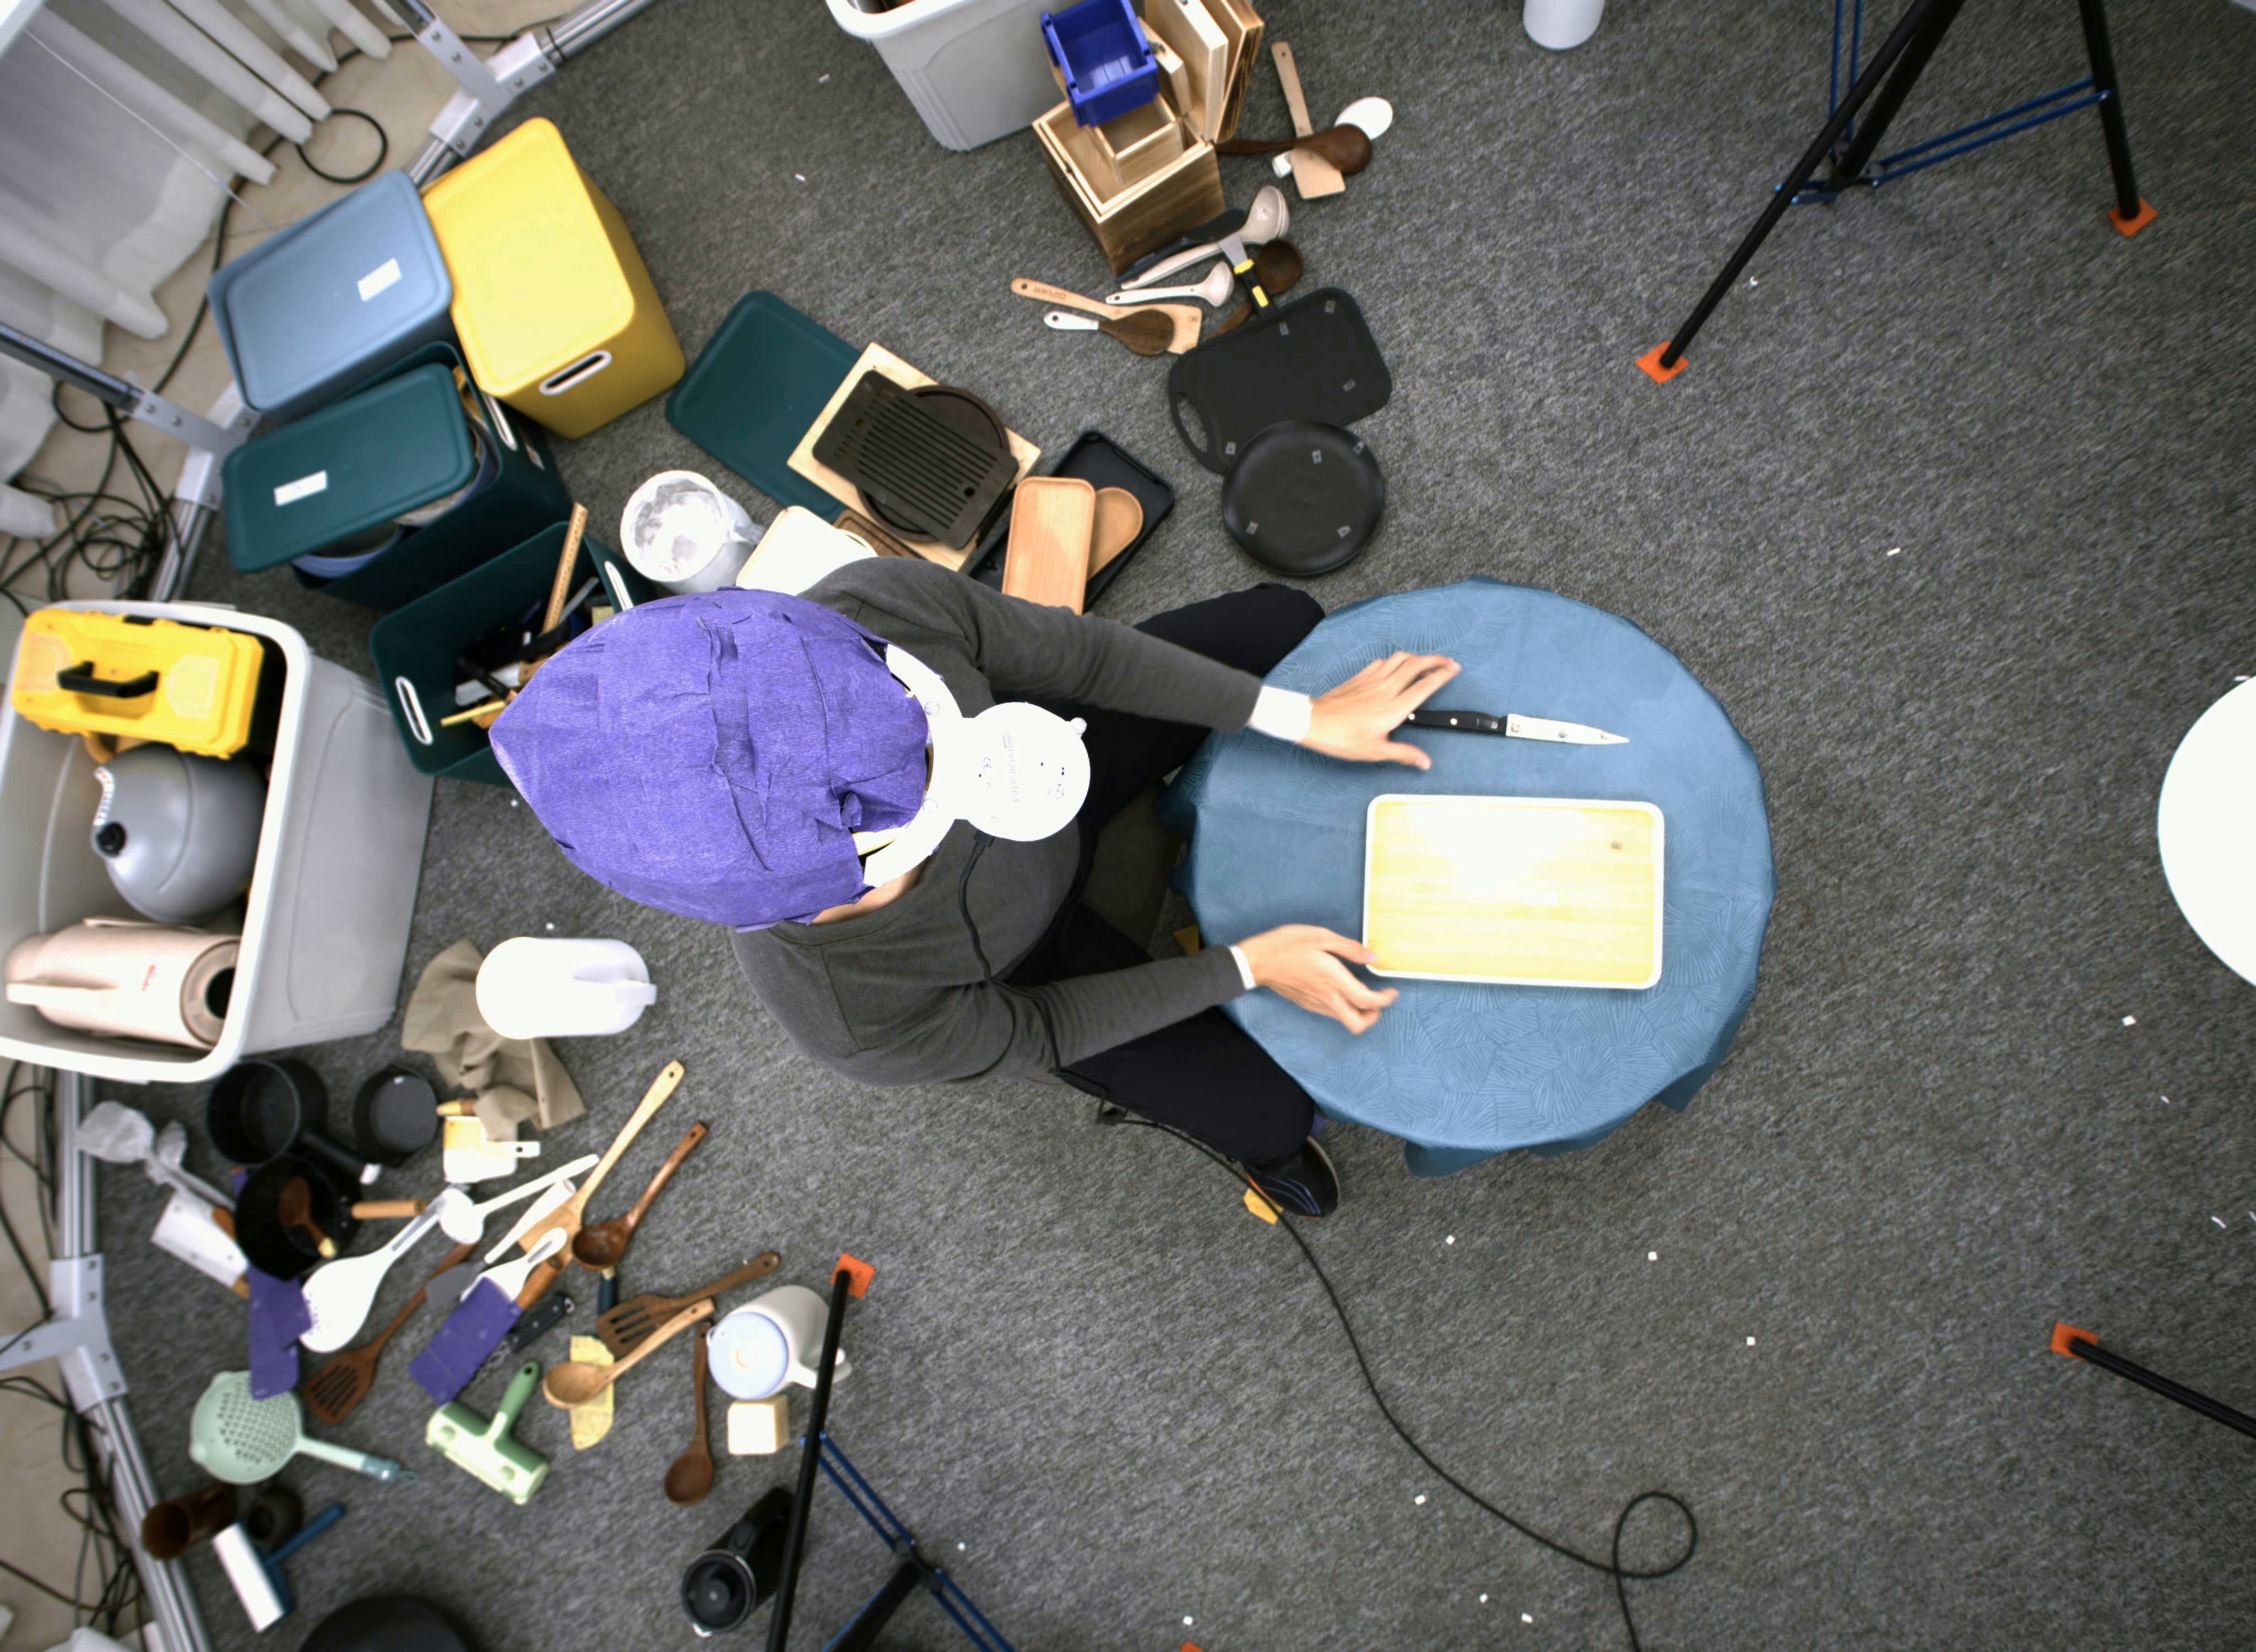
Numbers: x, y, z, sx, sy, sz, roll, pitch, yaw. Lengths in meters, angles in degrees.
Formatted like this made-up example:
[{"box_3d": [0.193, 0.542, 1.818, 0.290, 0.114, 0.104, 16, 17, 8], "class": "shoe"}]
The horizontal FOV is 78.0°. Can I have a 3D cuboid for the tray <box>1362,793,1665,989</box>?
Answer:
[{"box_3d": [0.396, 0.063, 1.424, 0.301, 0.027, 0.190, 2, 86, 11], "class": "tray"}]

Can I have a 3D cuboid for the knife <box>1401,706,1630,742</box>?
[{"box_3d": [0.406, -0.107, 1.439, 0.239, 0.016, 0.024, 6, 90, 8], "class": "knife"}]
